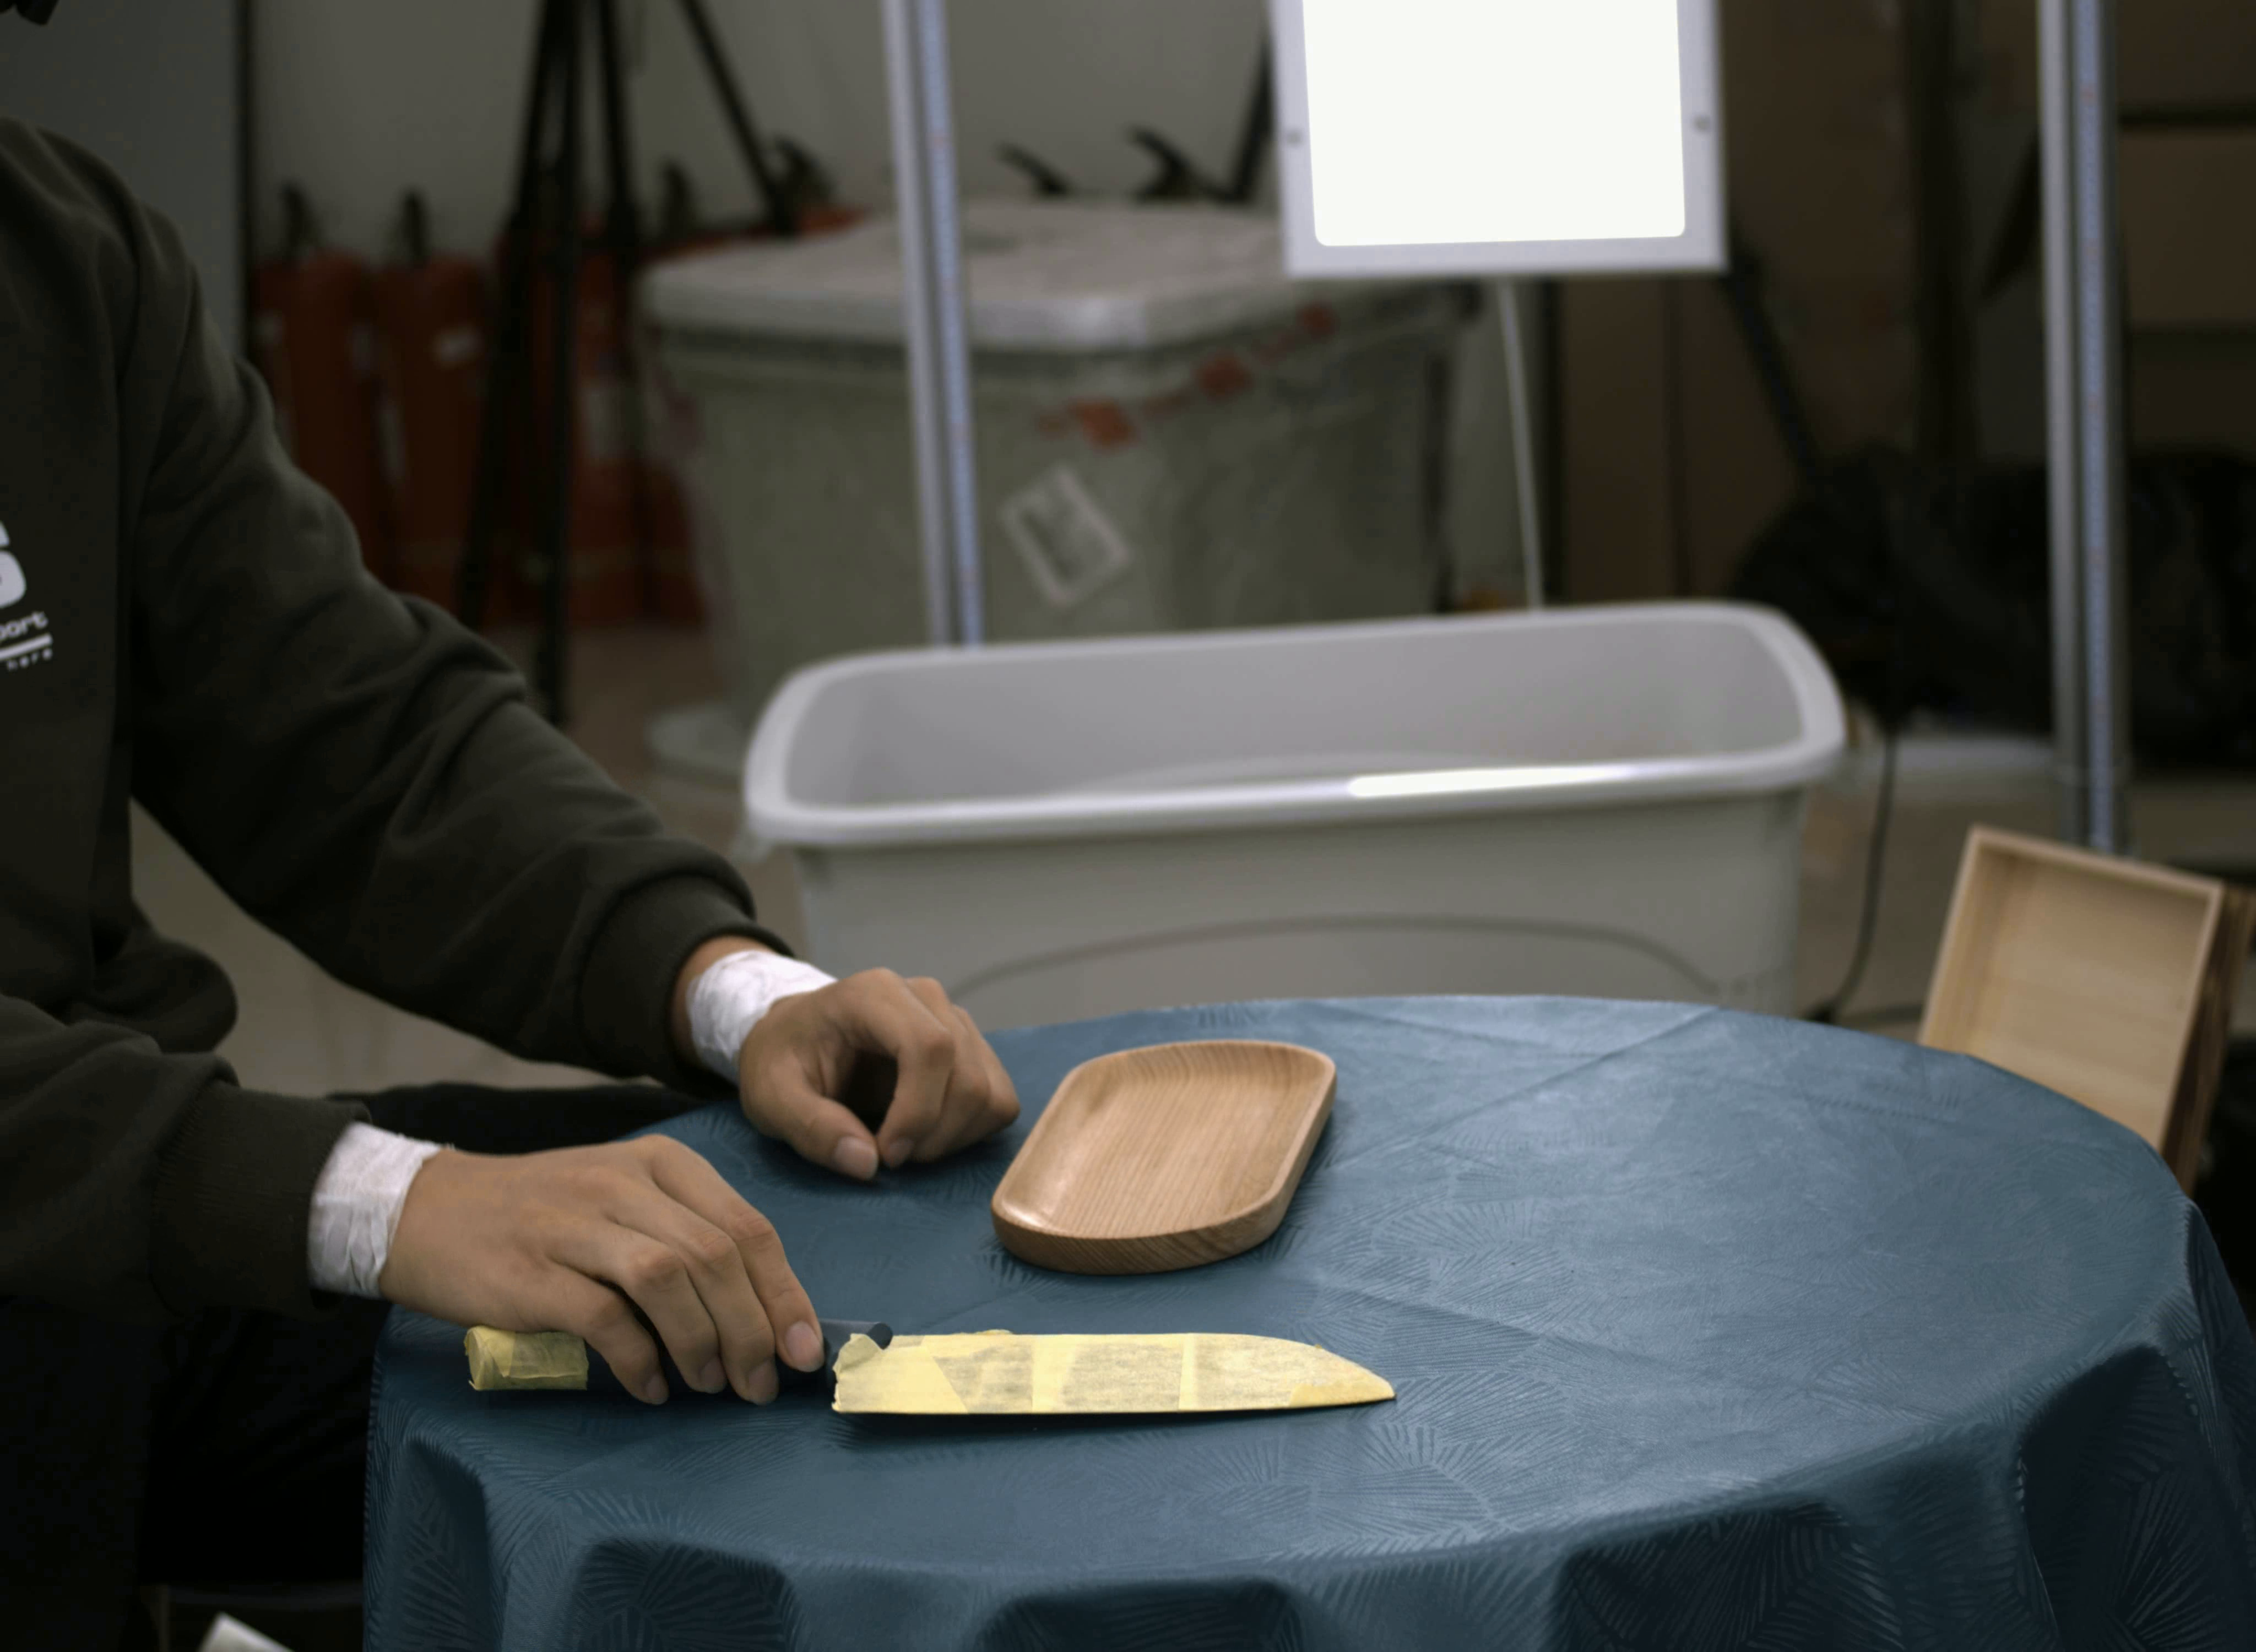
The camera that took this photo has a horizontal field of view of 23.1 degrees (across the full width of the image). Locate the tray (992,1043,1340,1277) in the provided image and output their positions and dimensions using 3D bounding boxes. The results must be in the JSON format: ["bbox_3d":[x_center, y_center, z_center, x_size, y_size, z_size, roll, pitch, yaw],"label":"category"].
[{"bbox_3d":[0.016,0.114,1.915,0.102,0.020,0.229,-4,15,11],"label":"tray"}]

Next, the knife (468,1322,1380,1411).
[{"bbox_3d":[-0.065,0.170,1.711,0.290,0.027,0.080,-2,9,7],"label":"knife"}]
